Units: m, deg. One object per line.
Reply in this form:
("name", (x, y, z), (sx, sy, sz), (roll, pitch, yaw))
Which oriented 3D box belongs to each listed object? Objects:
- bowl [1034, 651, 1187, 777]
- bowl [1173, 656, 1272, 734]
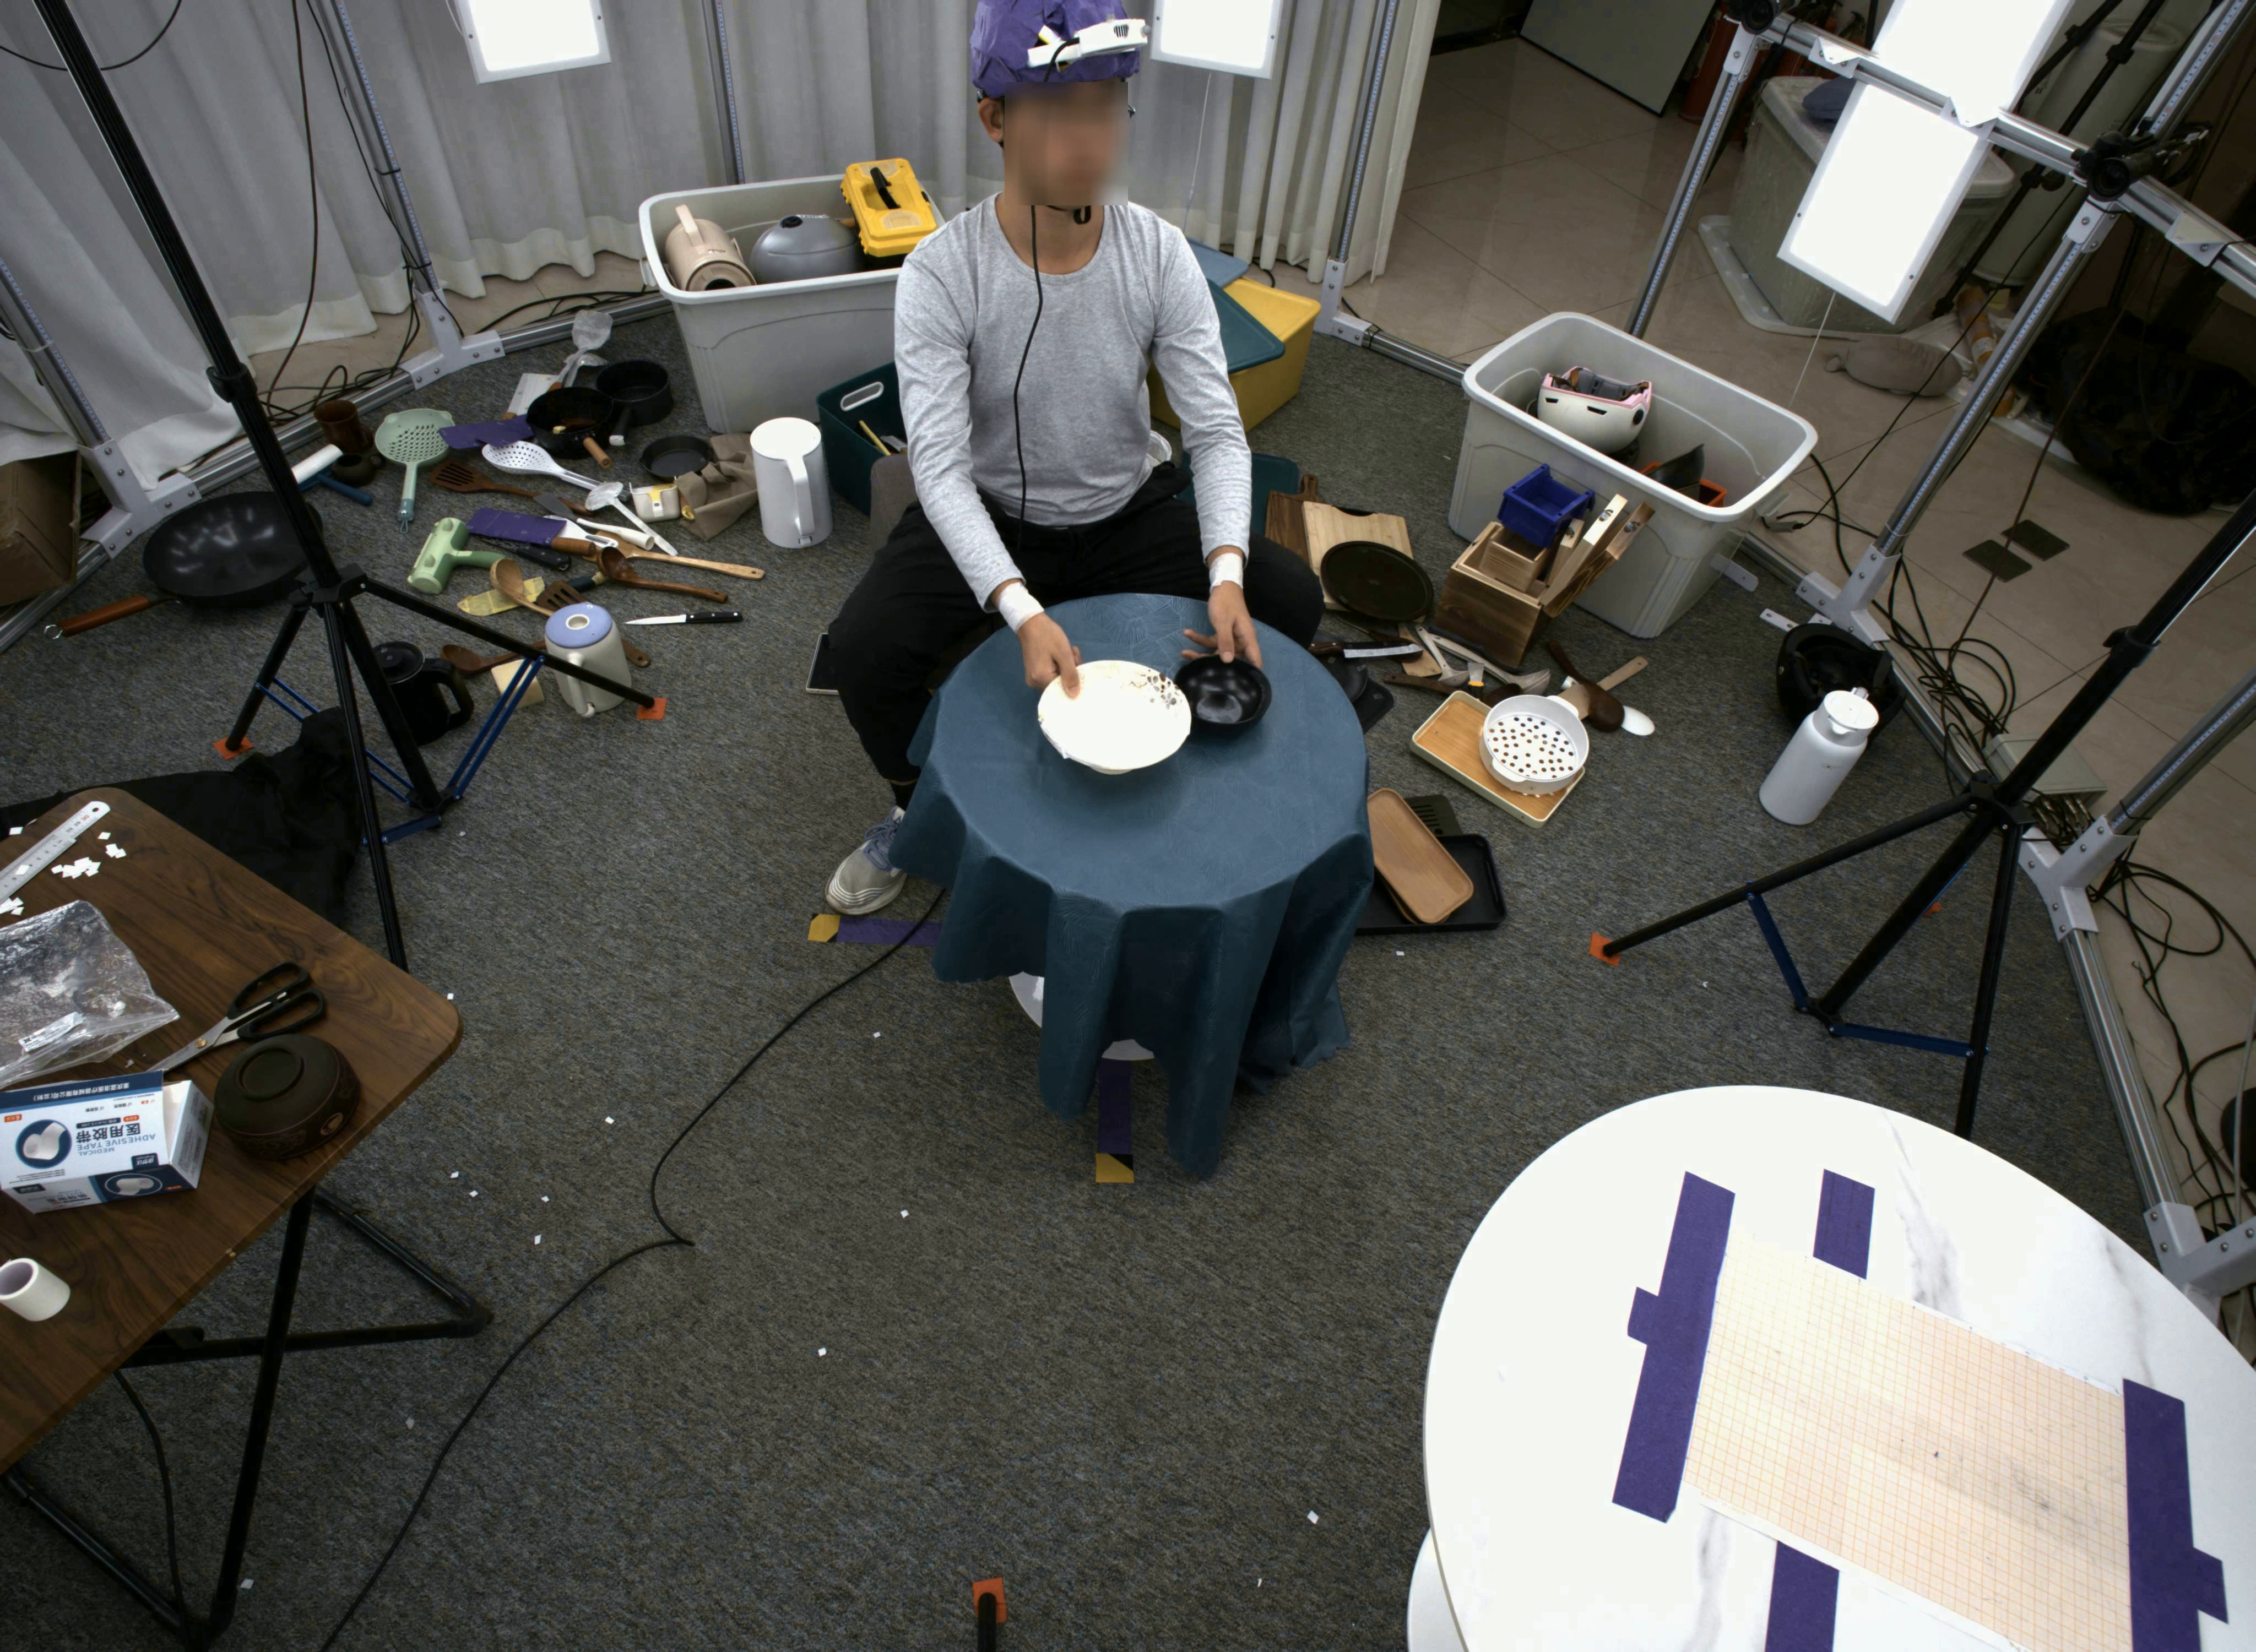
("bowl", (-0.026, -0.131, 1.711), (0.203, 0.076, 0.209), (4, 56, -6))
("bowl", (0.130, -0.175, 1.797), (0.140, 0.048, 0.143), (3, 46, -3))
